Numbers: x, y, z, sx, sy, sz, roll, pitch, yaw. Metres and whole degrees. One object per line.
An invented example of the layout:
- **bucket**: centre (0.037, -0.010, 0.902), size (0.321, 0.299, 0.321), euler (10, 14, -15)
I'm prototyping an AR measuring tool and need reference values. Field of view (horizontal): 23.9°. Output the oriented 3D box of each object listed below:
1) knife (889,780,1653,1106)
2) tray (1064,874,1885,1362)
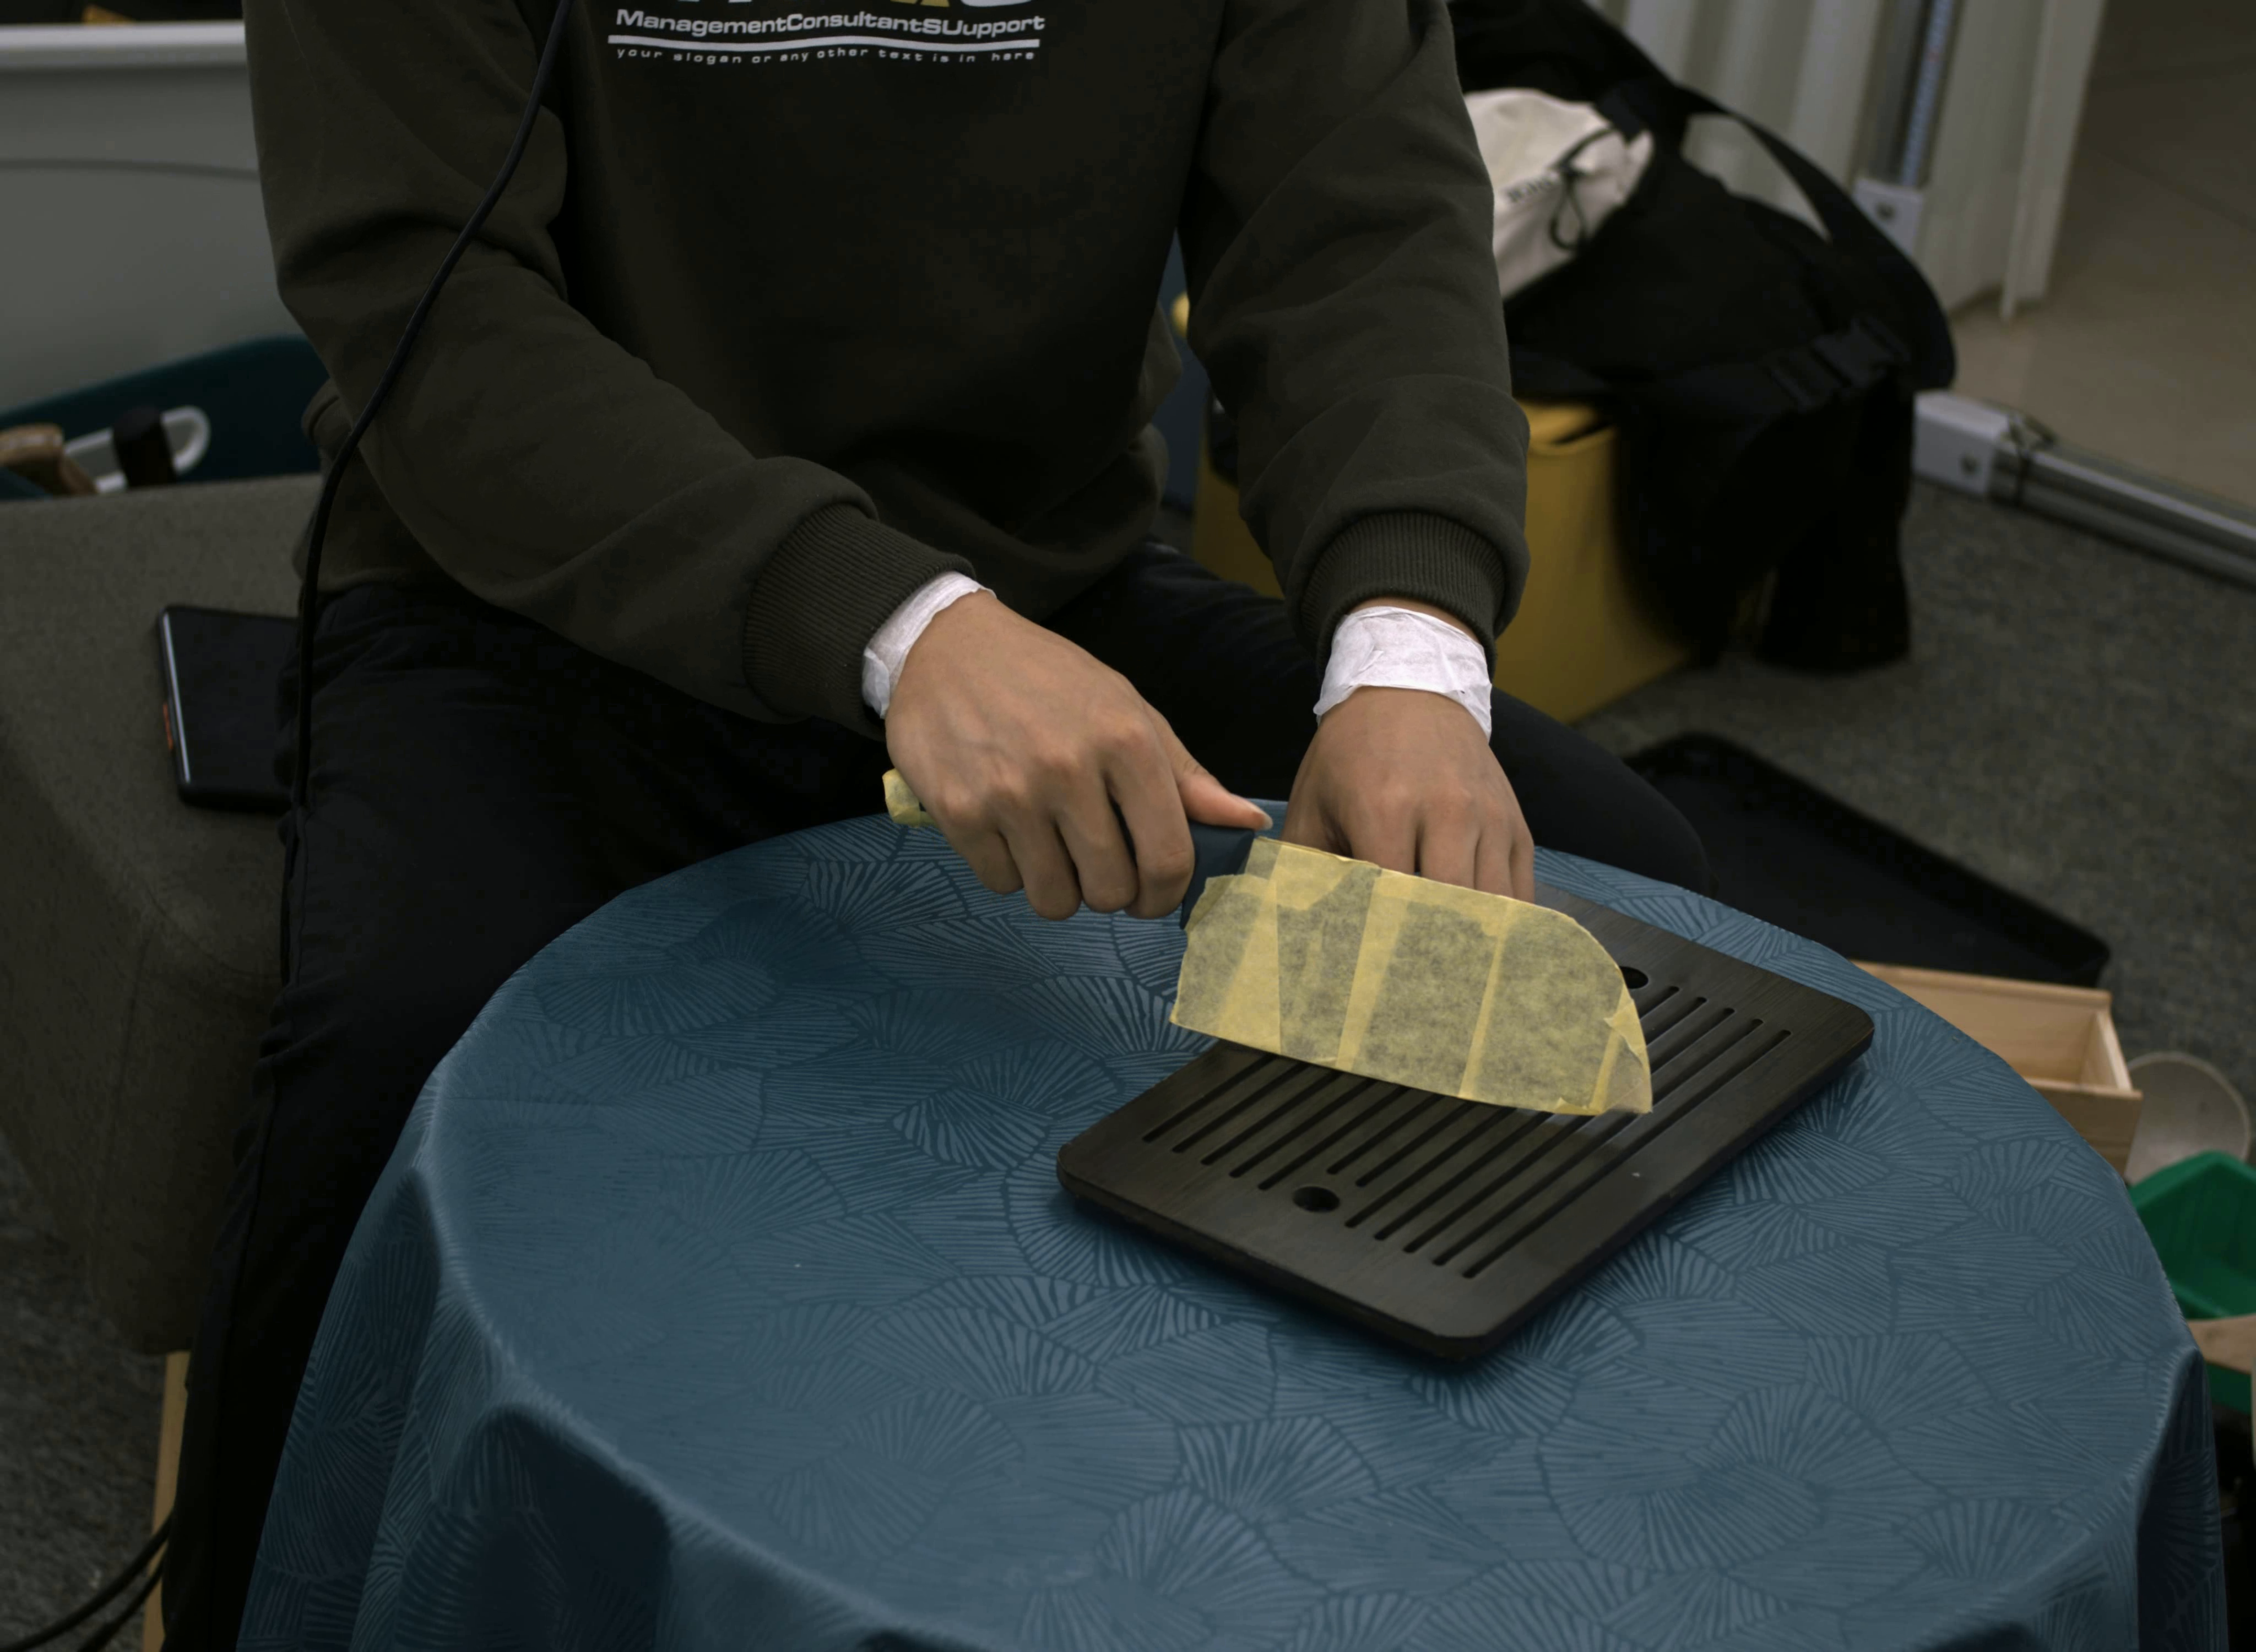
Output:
- **knife**: centre (0.047, 0.040, 1.872), size (0.290, 0.081, 0.027), euler (17, -3, 14)
- **tray**: centre (0.126, 0.099, 1.863), size (0.171, 0.018, 0.305), euler (21, 30, 28)
